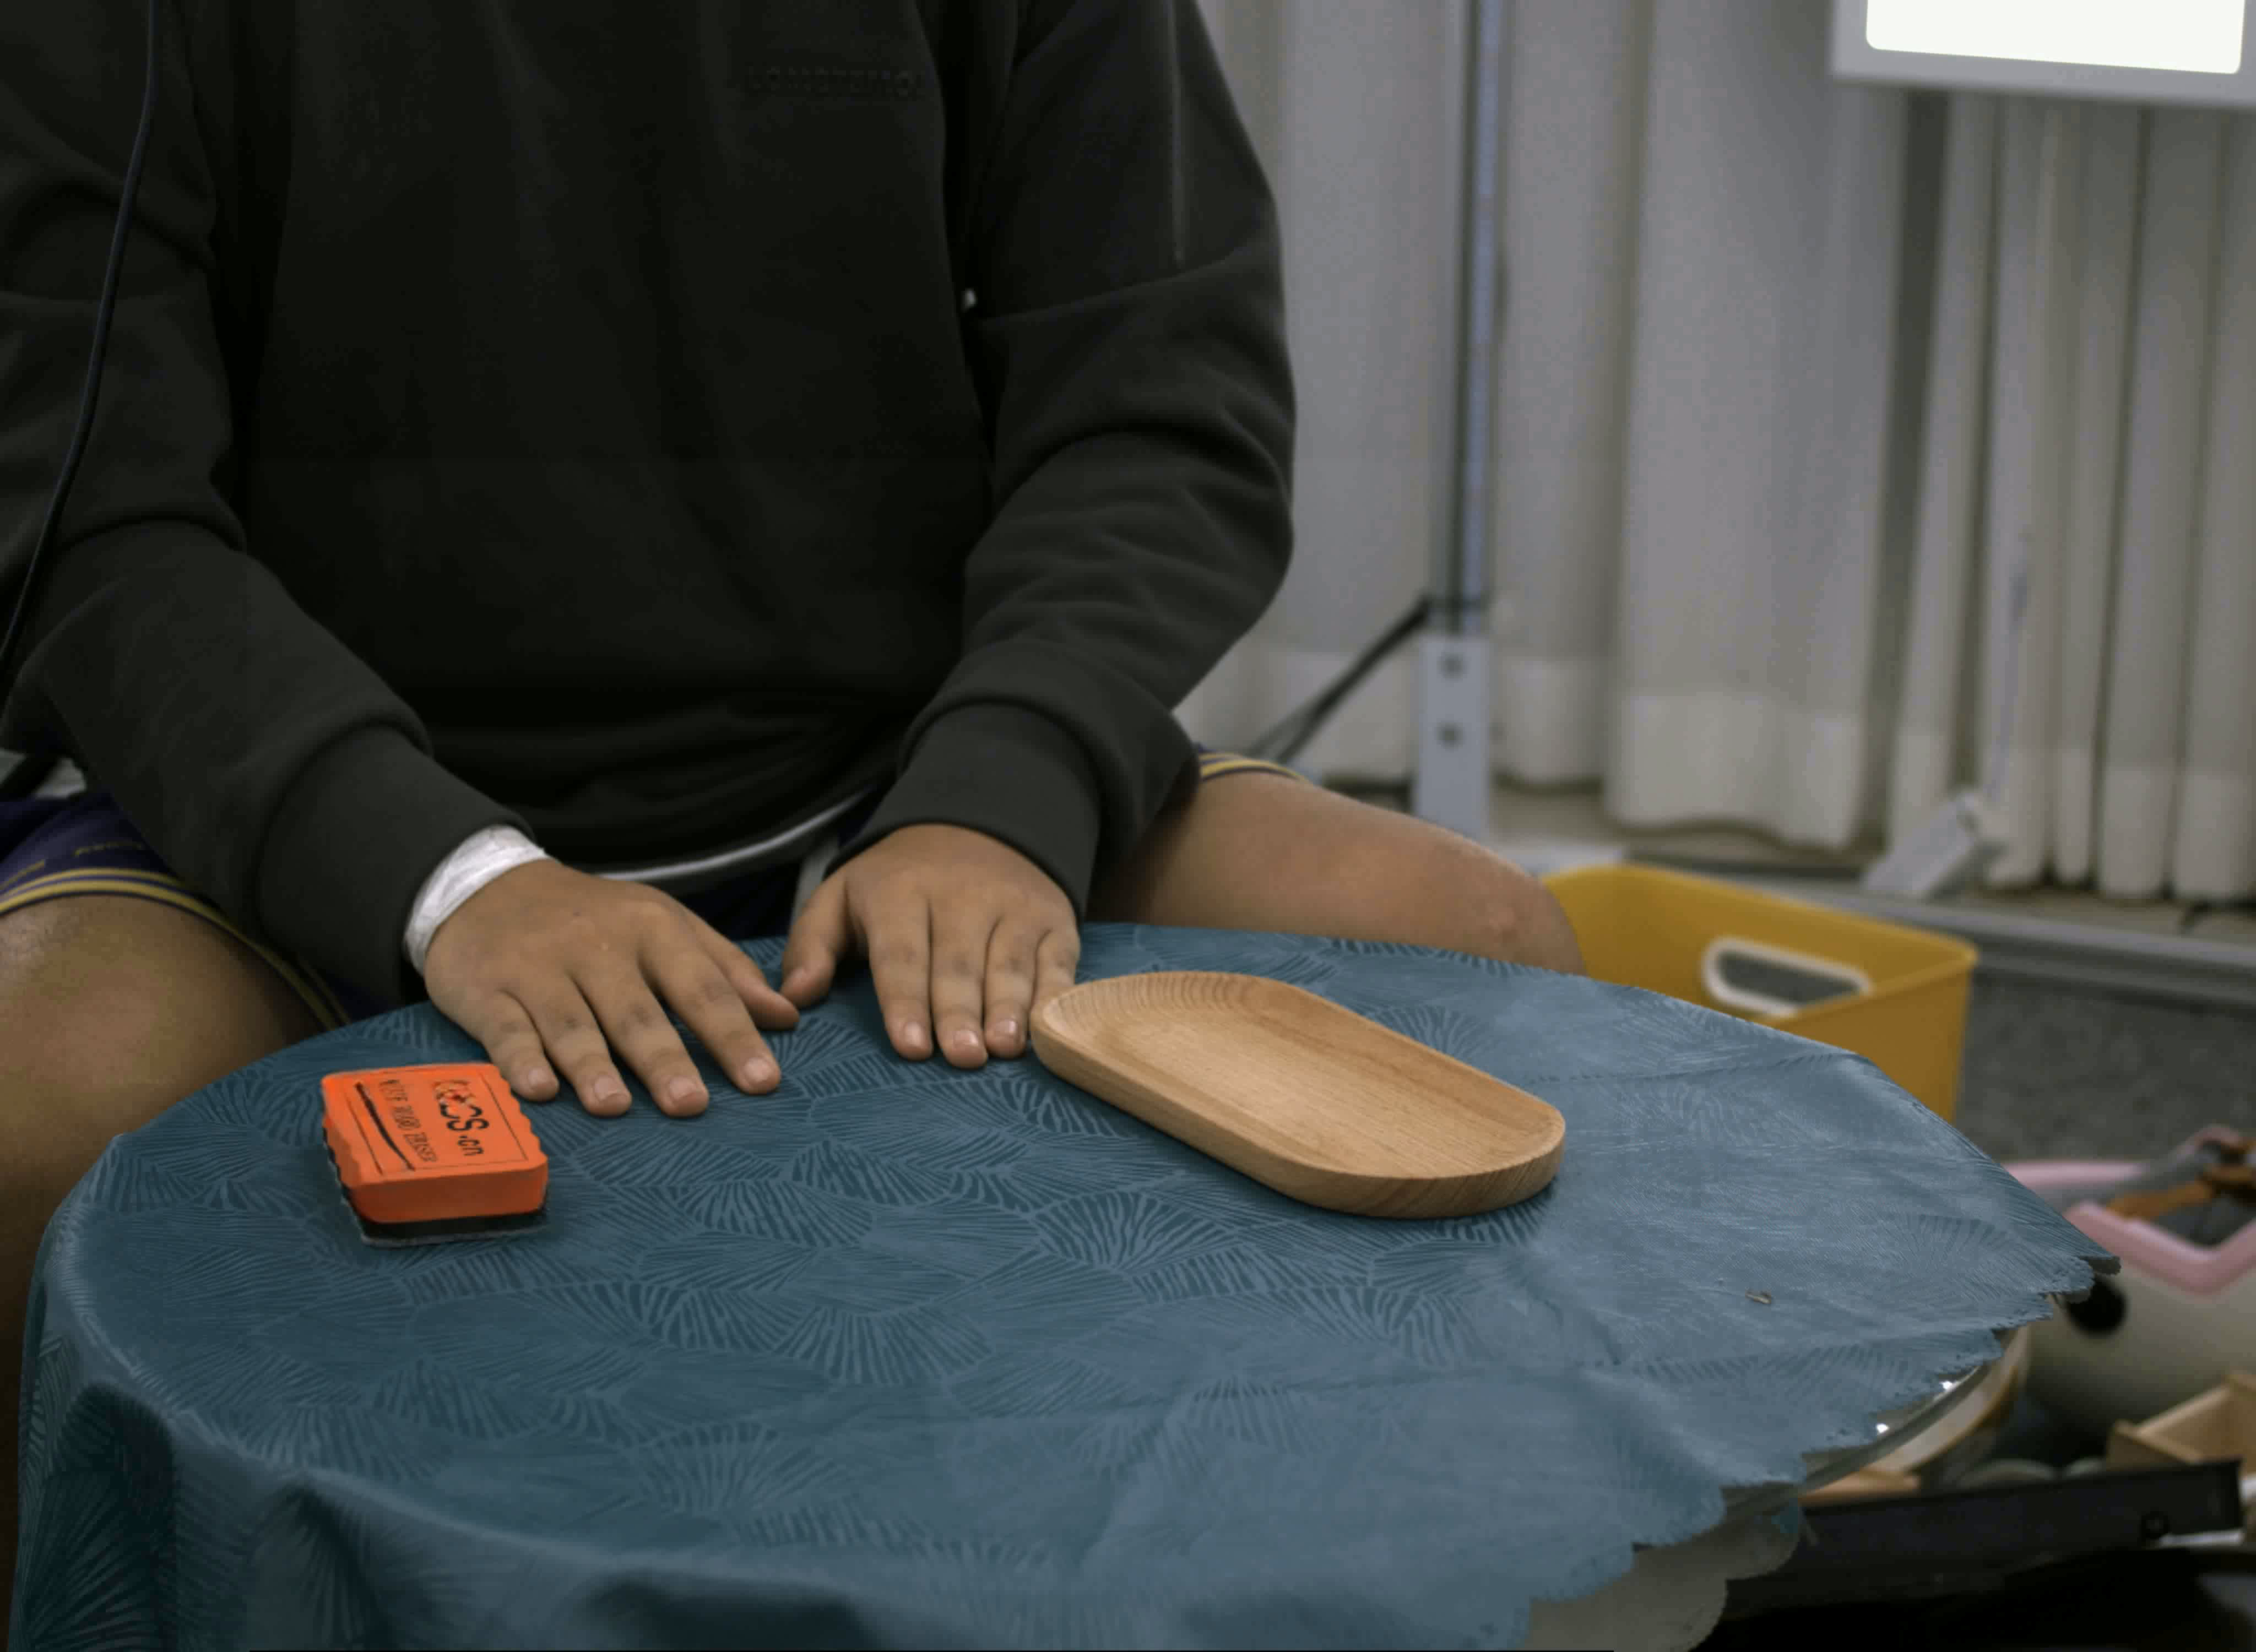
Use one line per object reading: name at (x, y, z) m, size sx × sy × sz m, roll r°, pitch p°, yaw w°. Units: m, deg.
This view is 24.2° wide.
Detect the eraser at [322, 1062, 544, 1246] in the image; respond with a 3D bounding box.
eraser at (-0.214, 0.100, 1.616) m, size 0.059 × 0.023 × 0.107 m, roll -5°, pitch 16°, yaw -14°

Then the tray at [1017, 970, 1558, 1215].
tray at (0.049, 0.084, 1.696) m, size 0.102 × 0.020 × 0.228 m, roll -8°, pitch 17°, yaw -32°
